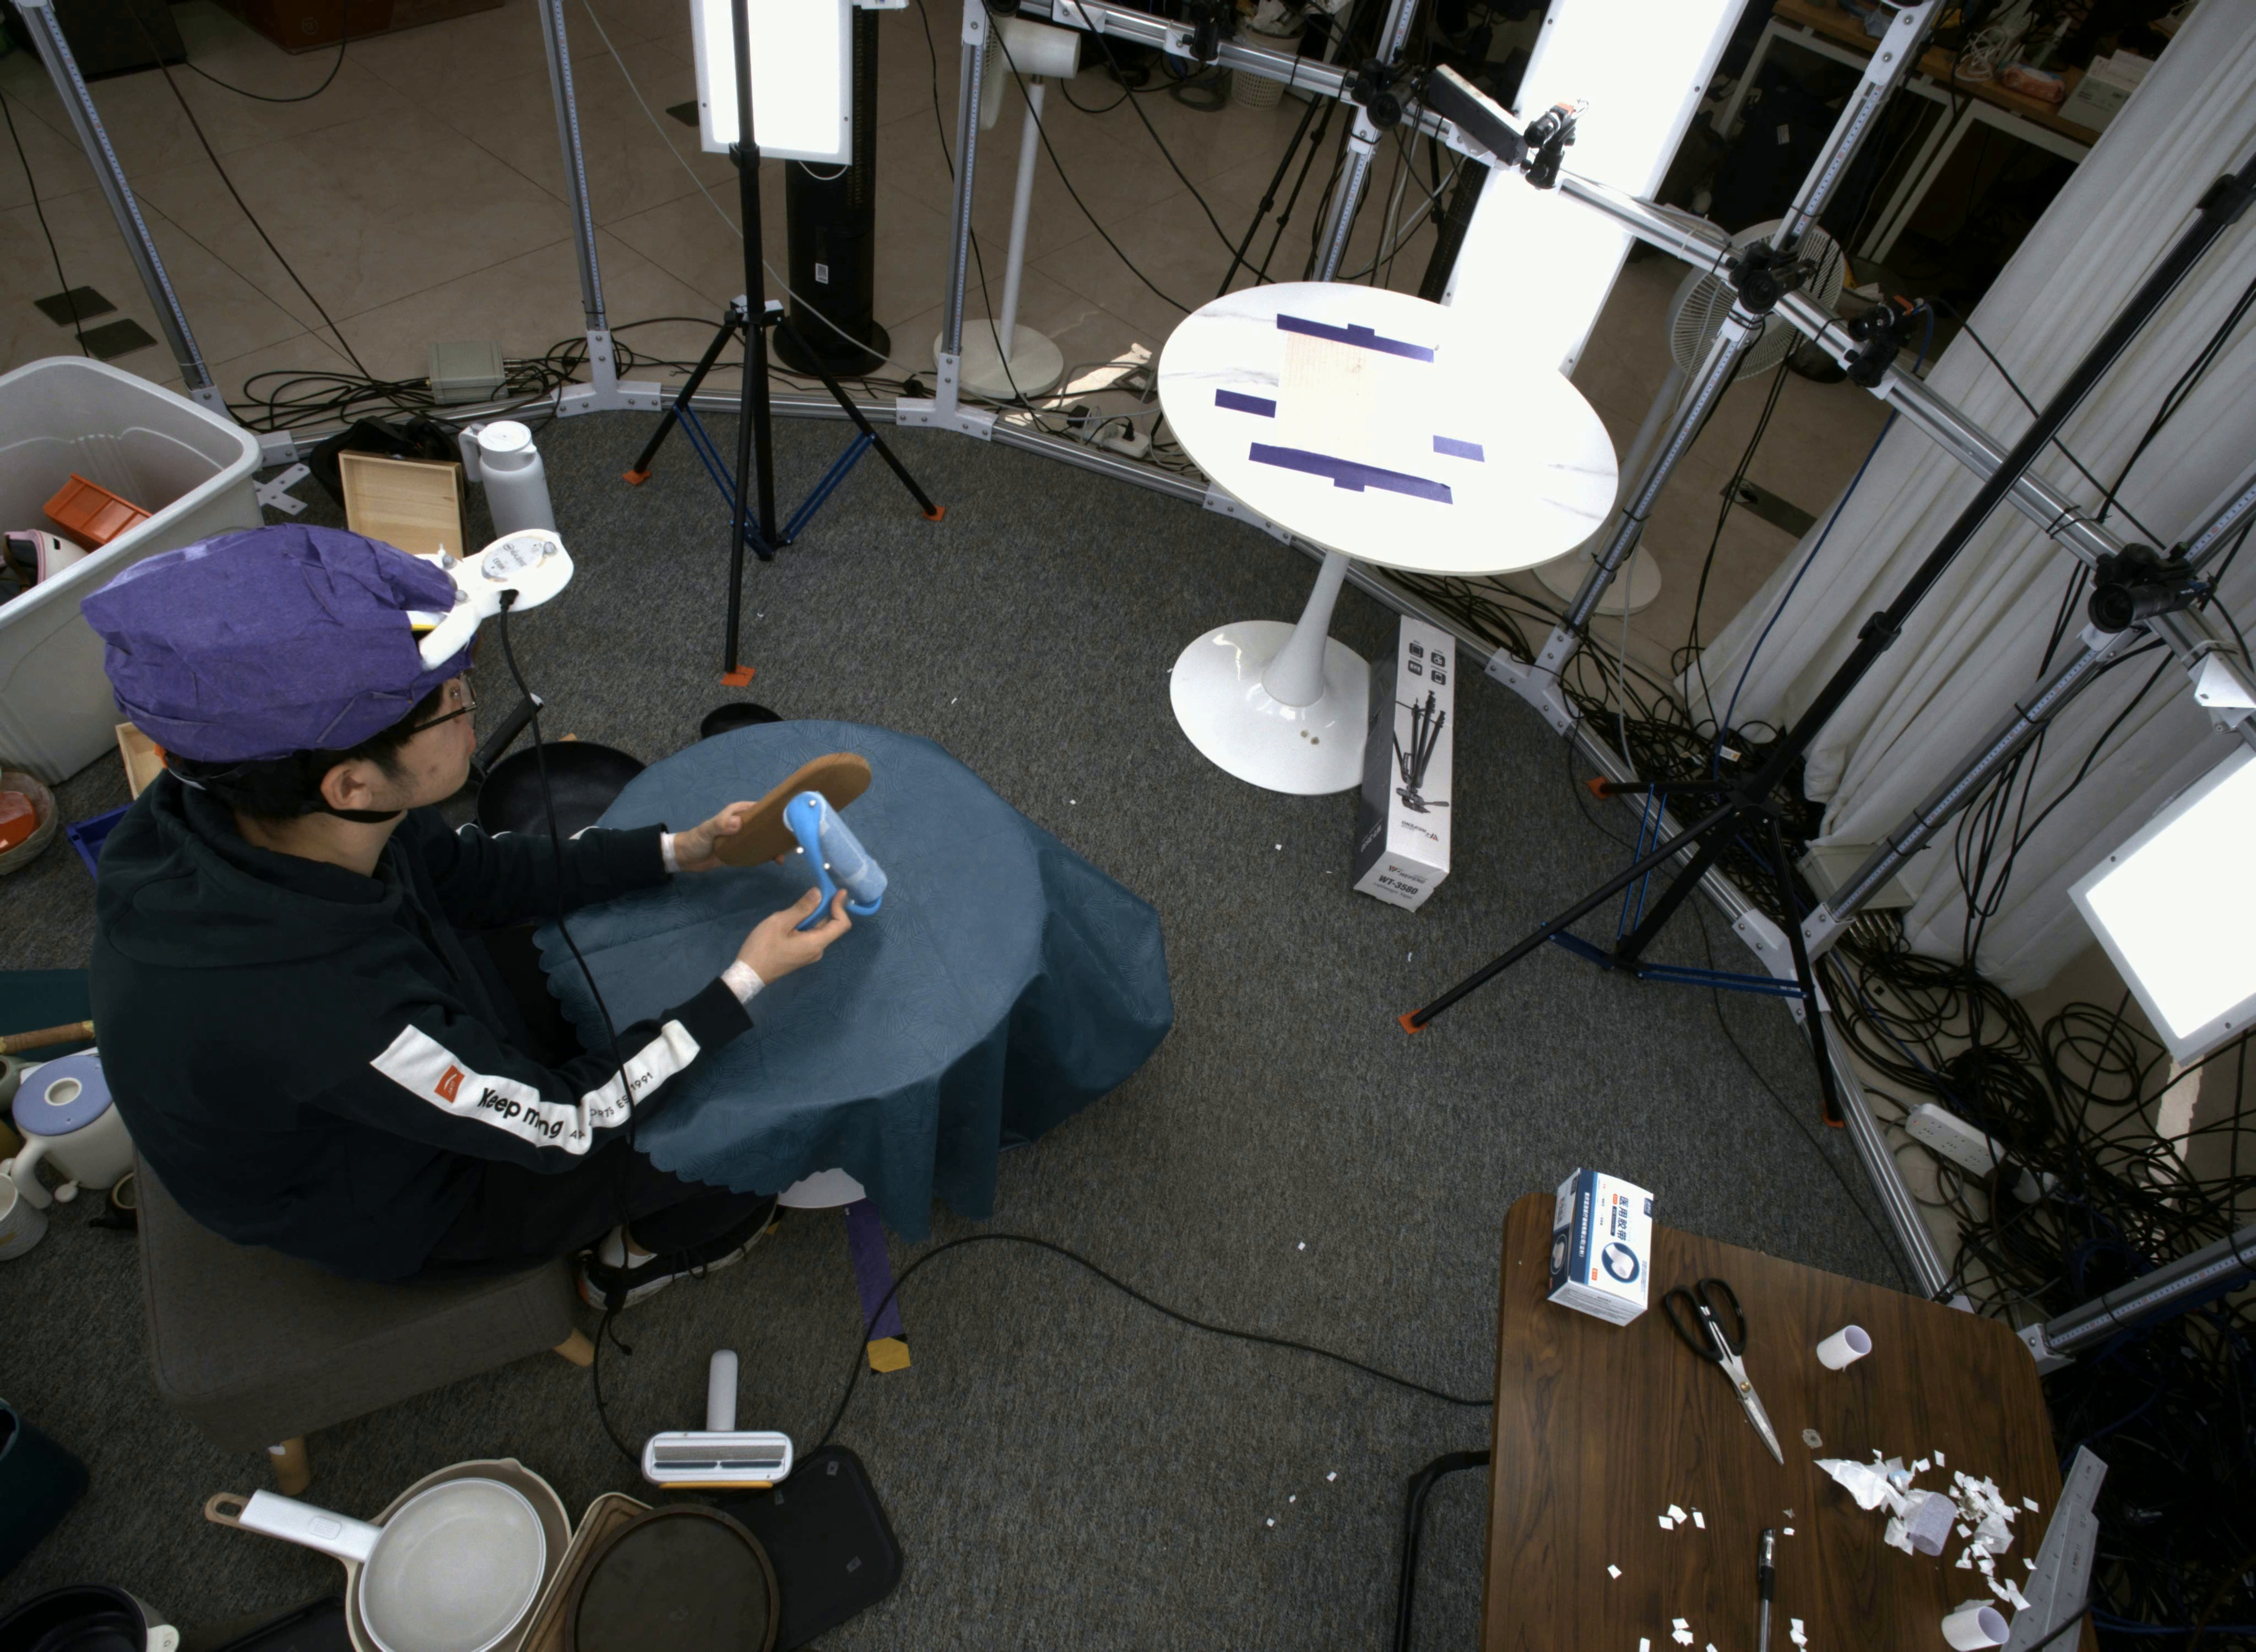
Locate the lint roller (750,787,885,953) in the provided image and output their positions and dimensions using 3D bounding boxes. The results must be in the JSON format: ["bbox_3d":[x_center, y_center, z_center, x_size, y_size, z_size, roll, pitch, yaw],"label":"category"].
[{"bbox_3d":[-0.373,0.076,1.526,0.066,0.236,0.180,19,71,20],"label":"lint roller"}]

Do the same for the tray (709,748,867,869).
[{"bbox_3d":[-0.412,-0.019,1.572,0.230,0.105,0.020,-37,61,15],"label":"tray"}]
